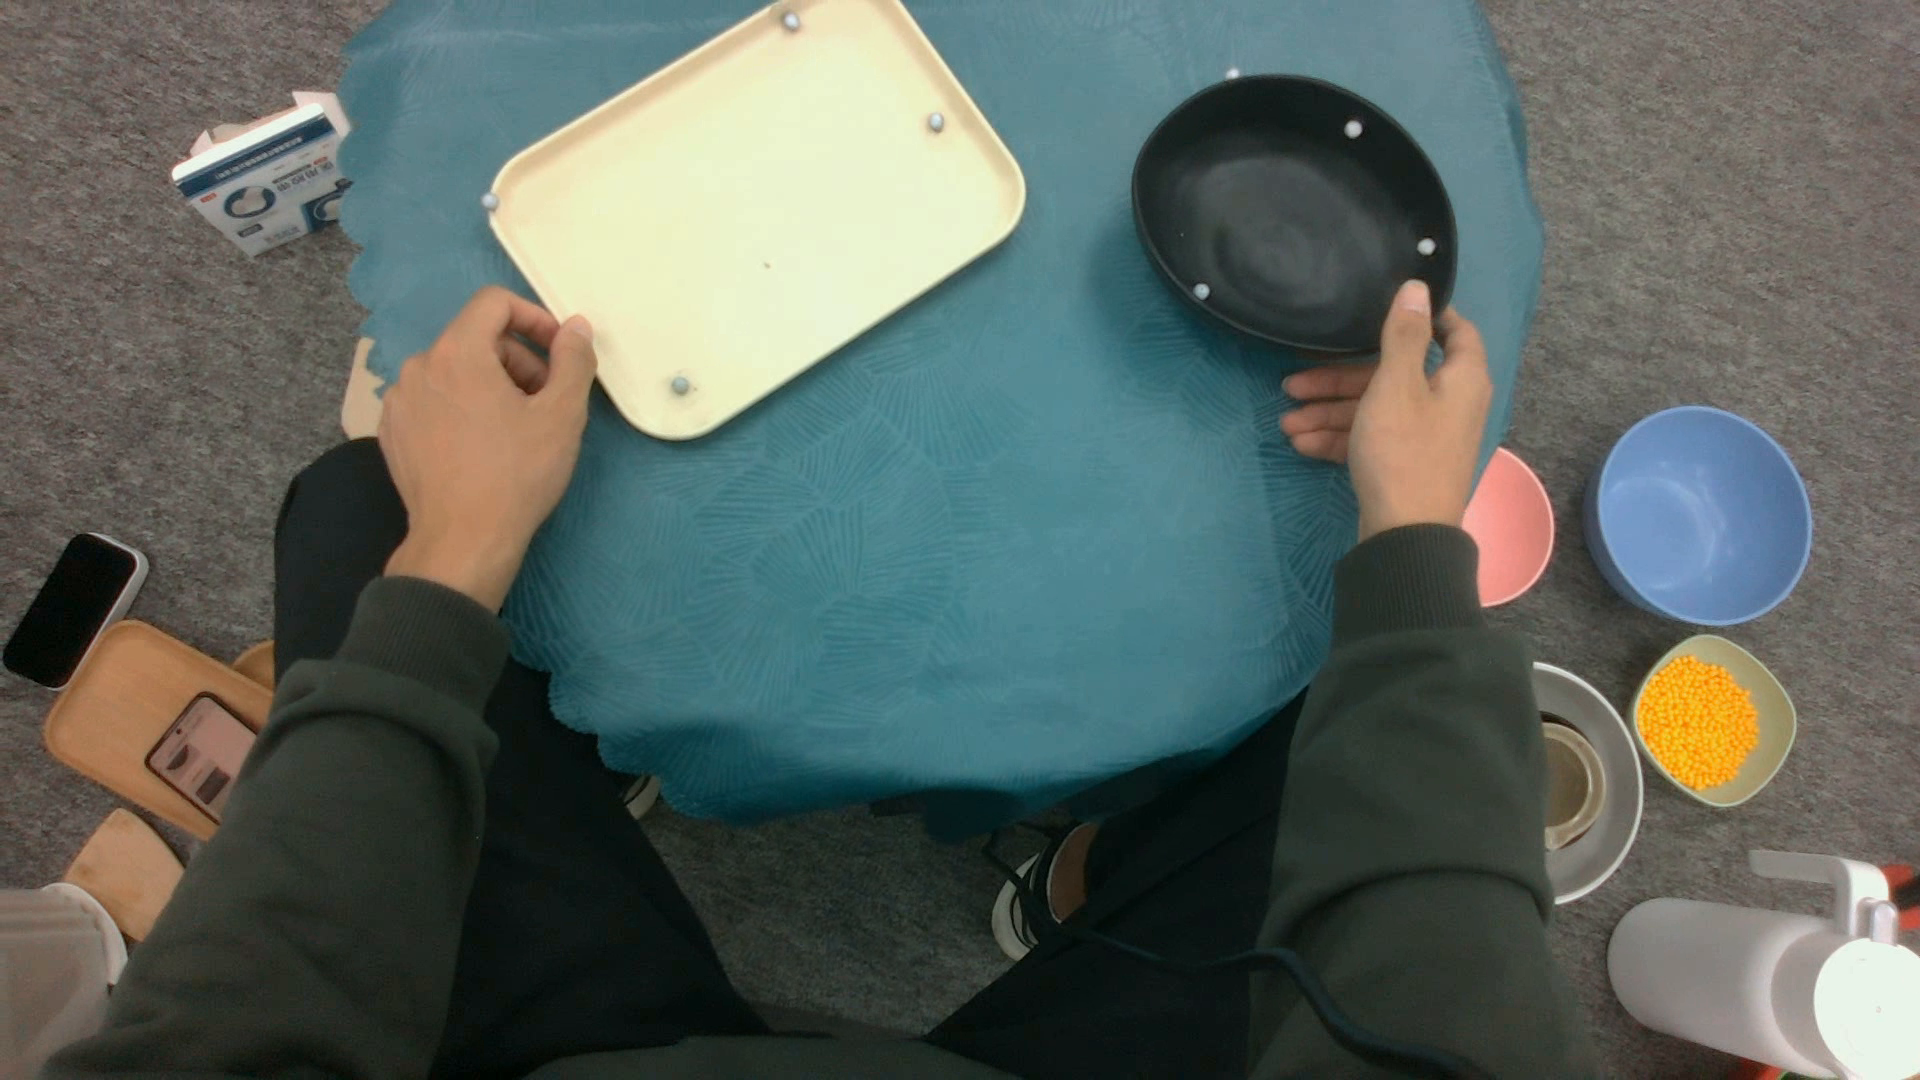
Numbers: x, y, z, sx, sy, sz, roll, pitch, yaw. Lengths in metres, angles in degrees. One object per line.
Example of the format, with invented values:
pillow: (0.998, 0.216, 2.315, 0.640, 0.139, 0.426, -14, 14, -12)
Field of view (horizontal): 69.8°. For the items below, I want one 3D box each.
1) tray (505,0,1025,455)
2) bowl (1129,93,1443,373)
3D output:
tray: (-0.099, -0.165, 0.719, 0.240, 0.017, 0.171, -35, 84, -10)
bowl: (0.165, -0.150, 0.713, 0.170, 0.066, 0.137, 23, 80, -1)
